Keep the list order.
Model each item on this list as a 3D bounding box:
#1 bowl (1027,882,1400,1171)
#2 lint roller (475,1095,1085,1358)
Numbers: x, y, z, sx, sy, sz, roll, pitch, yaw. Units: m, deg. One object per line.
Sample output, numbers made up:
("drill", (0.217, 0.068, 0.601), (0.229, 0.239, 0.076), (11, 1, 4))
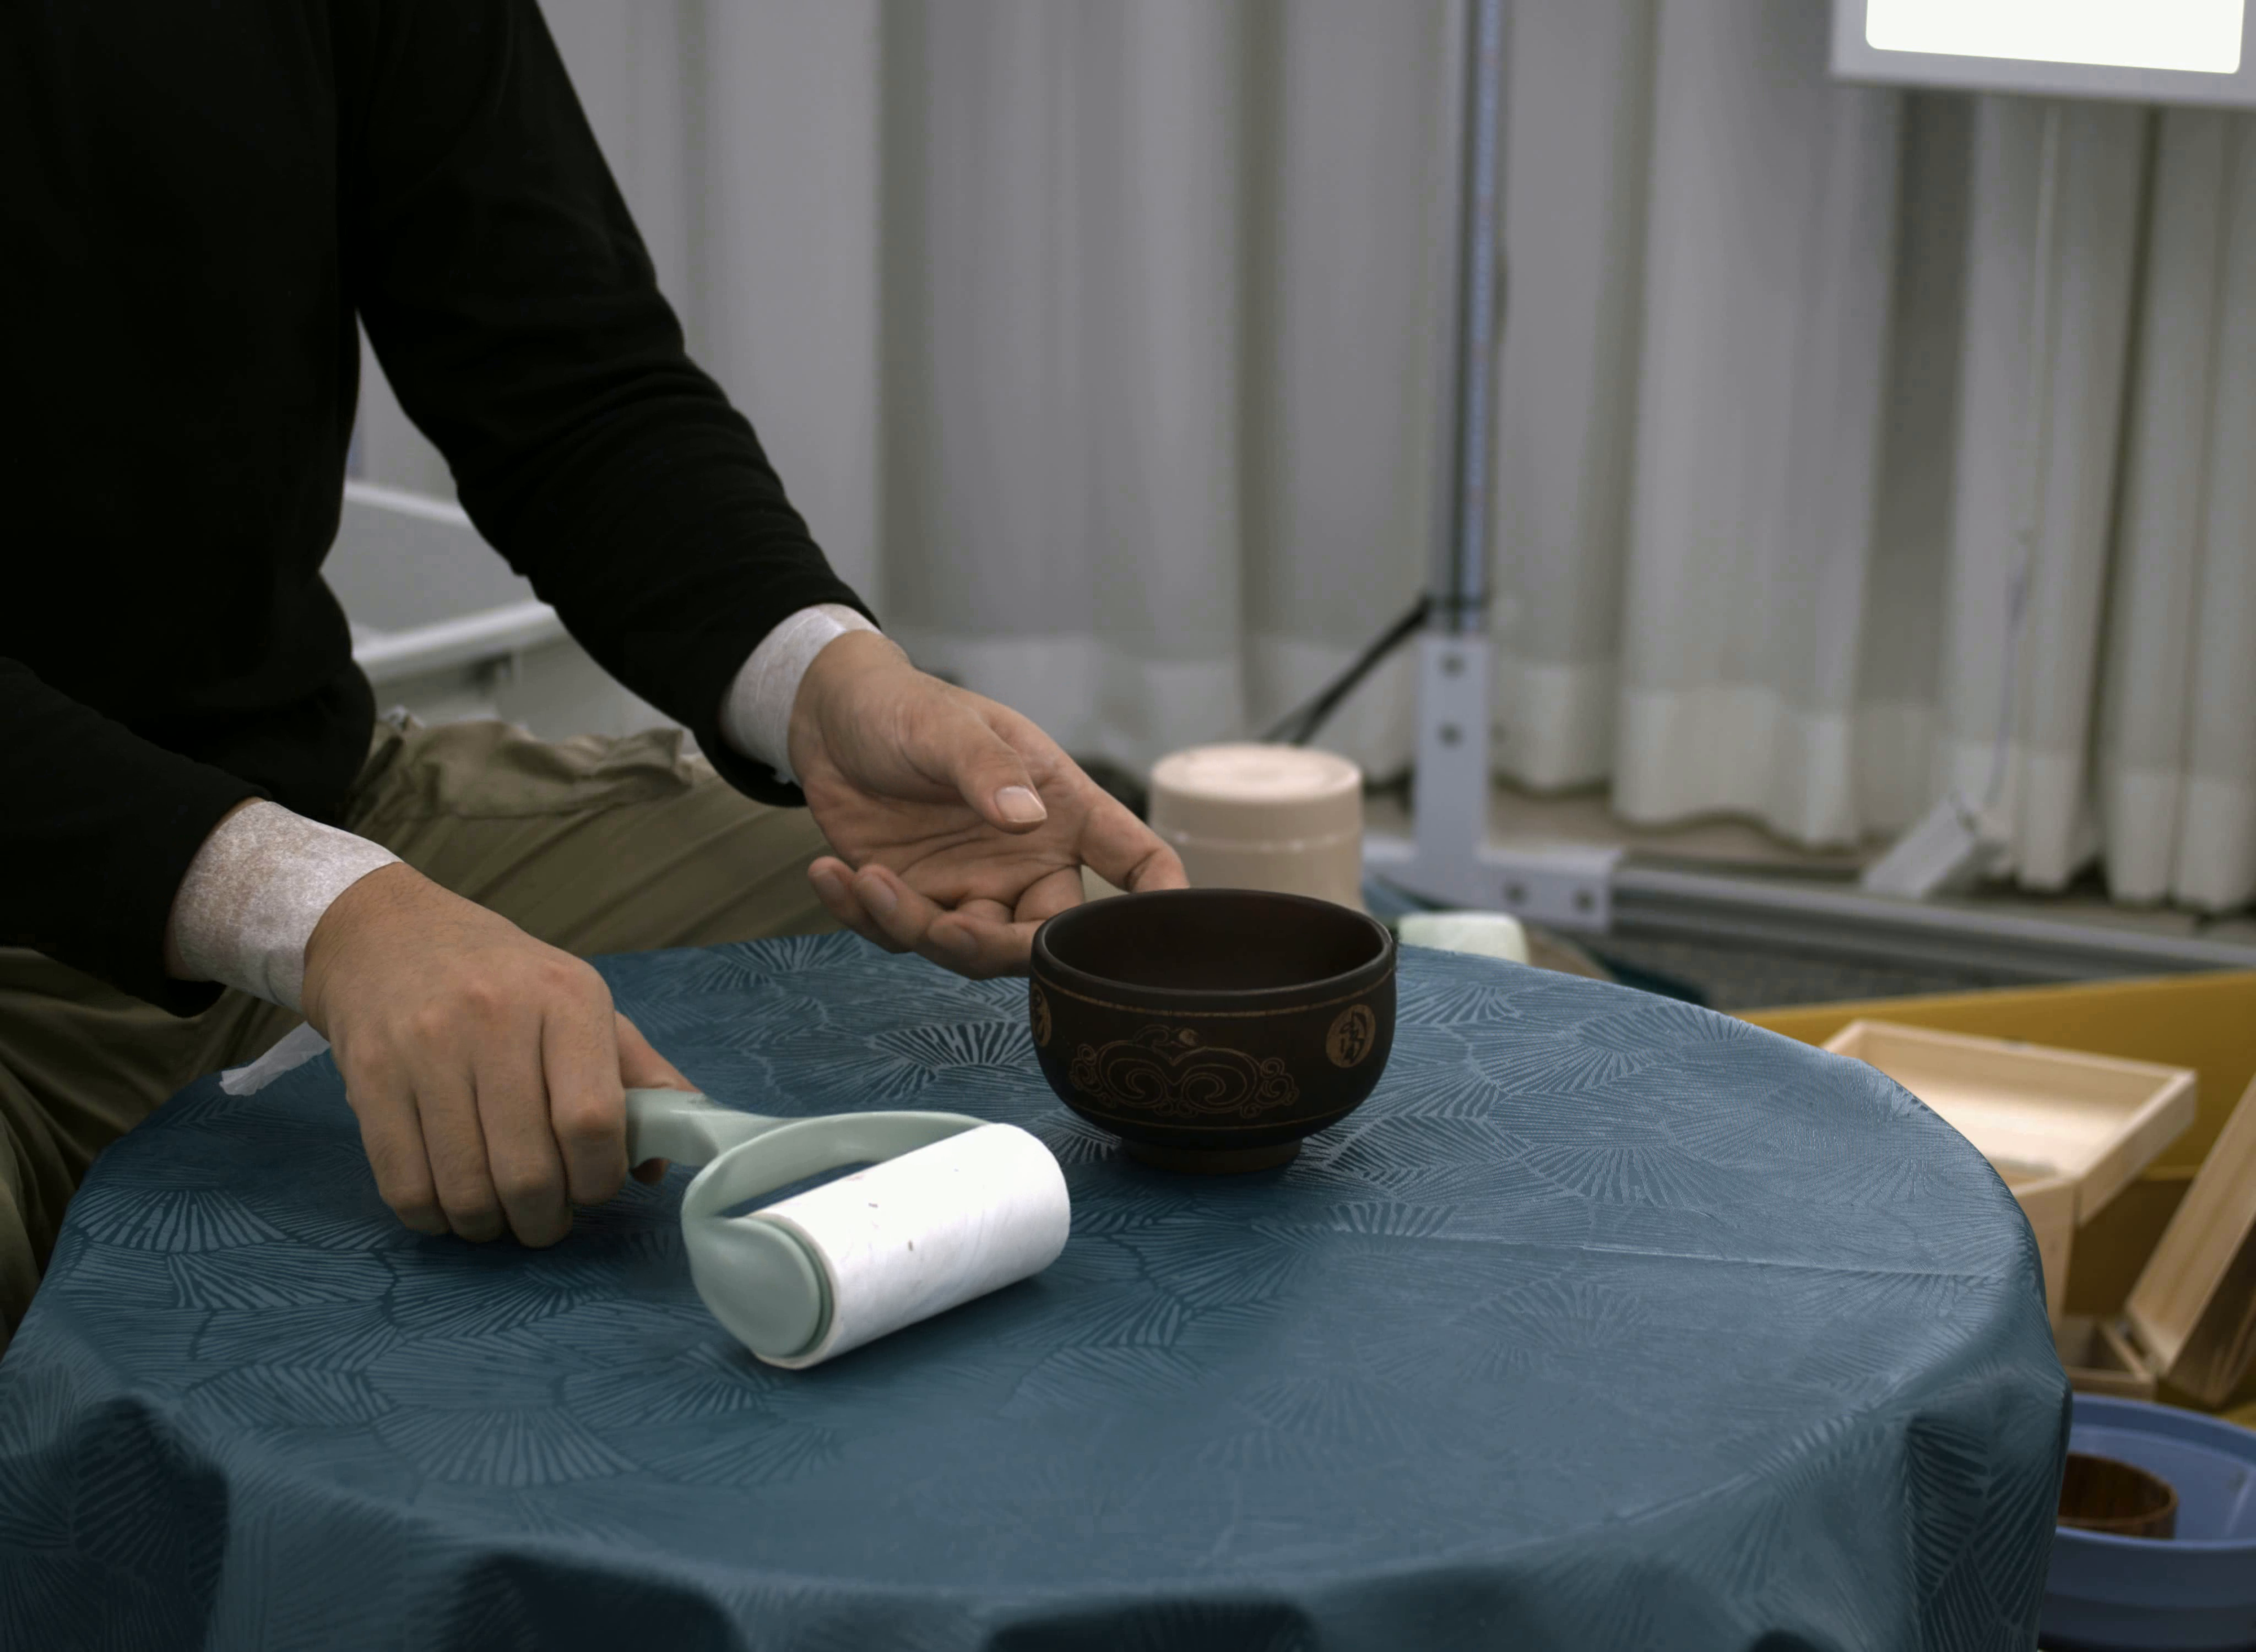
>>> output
("bowl", (0.027, 0.067, 1.653), (0.117, 0.070, 0.117), (-1, 16, 1))
("lint roller", (-0.117, 0.104, 1.553), (0.195, 0.049, 0.117), (13, 21, 37))
